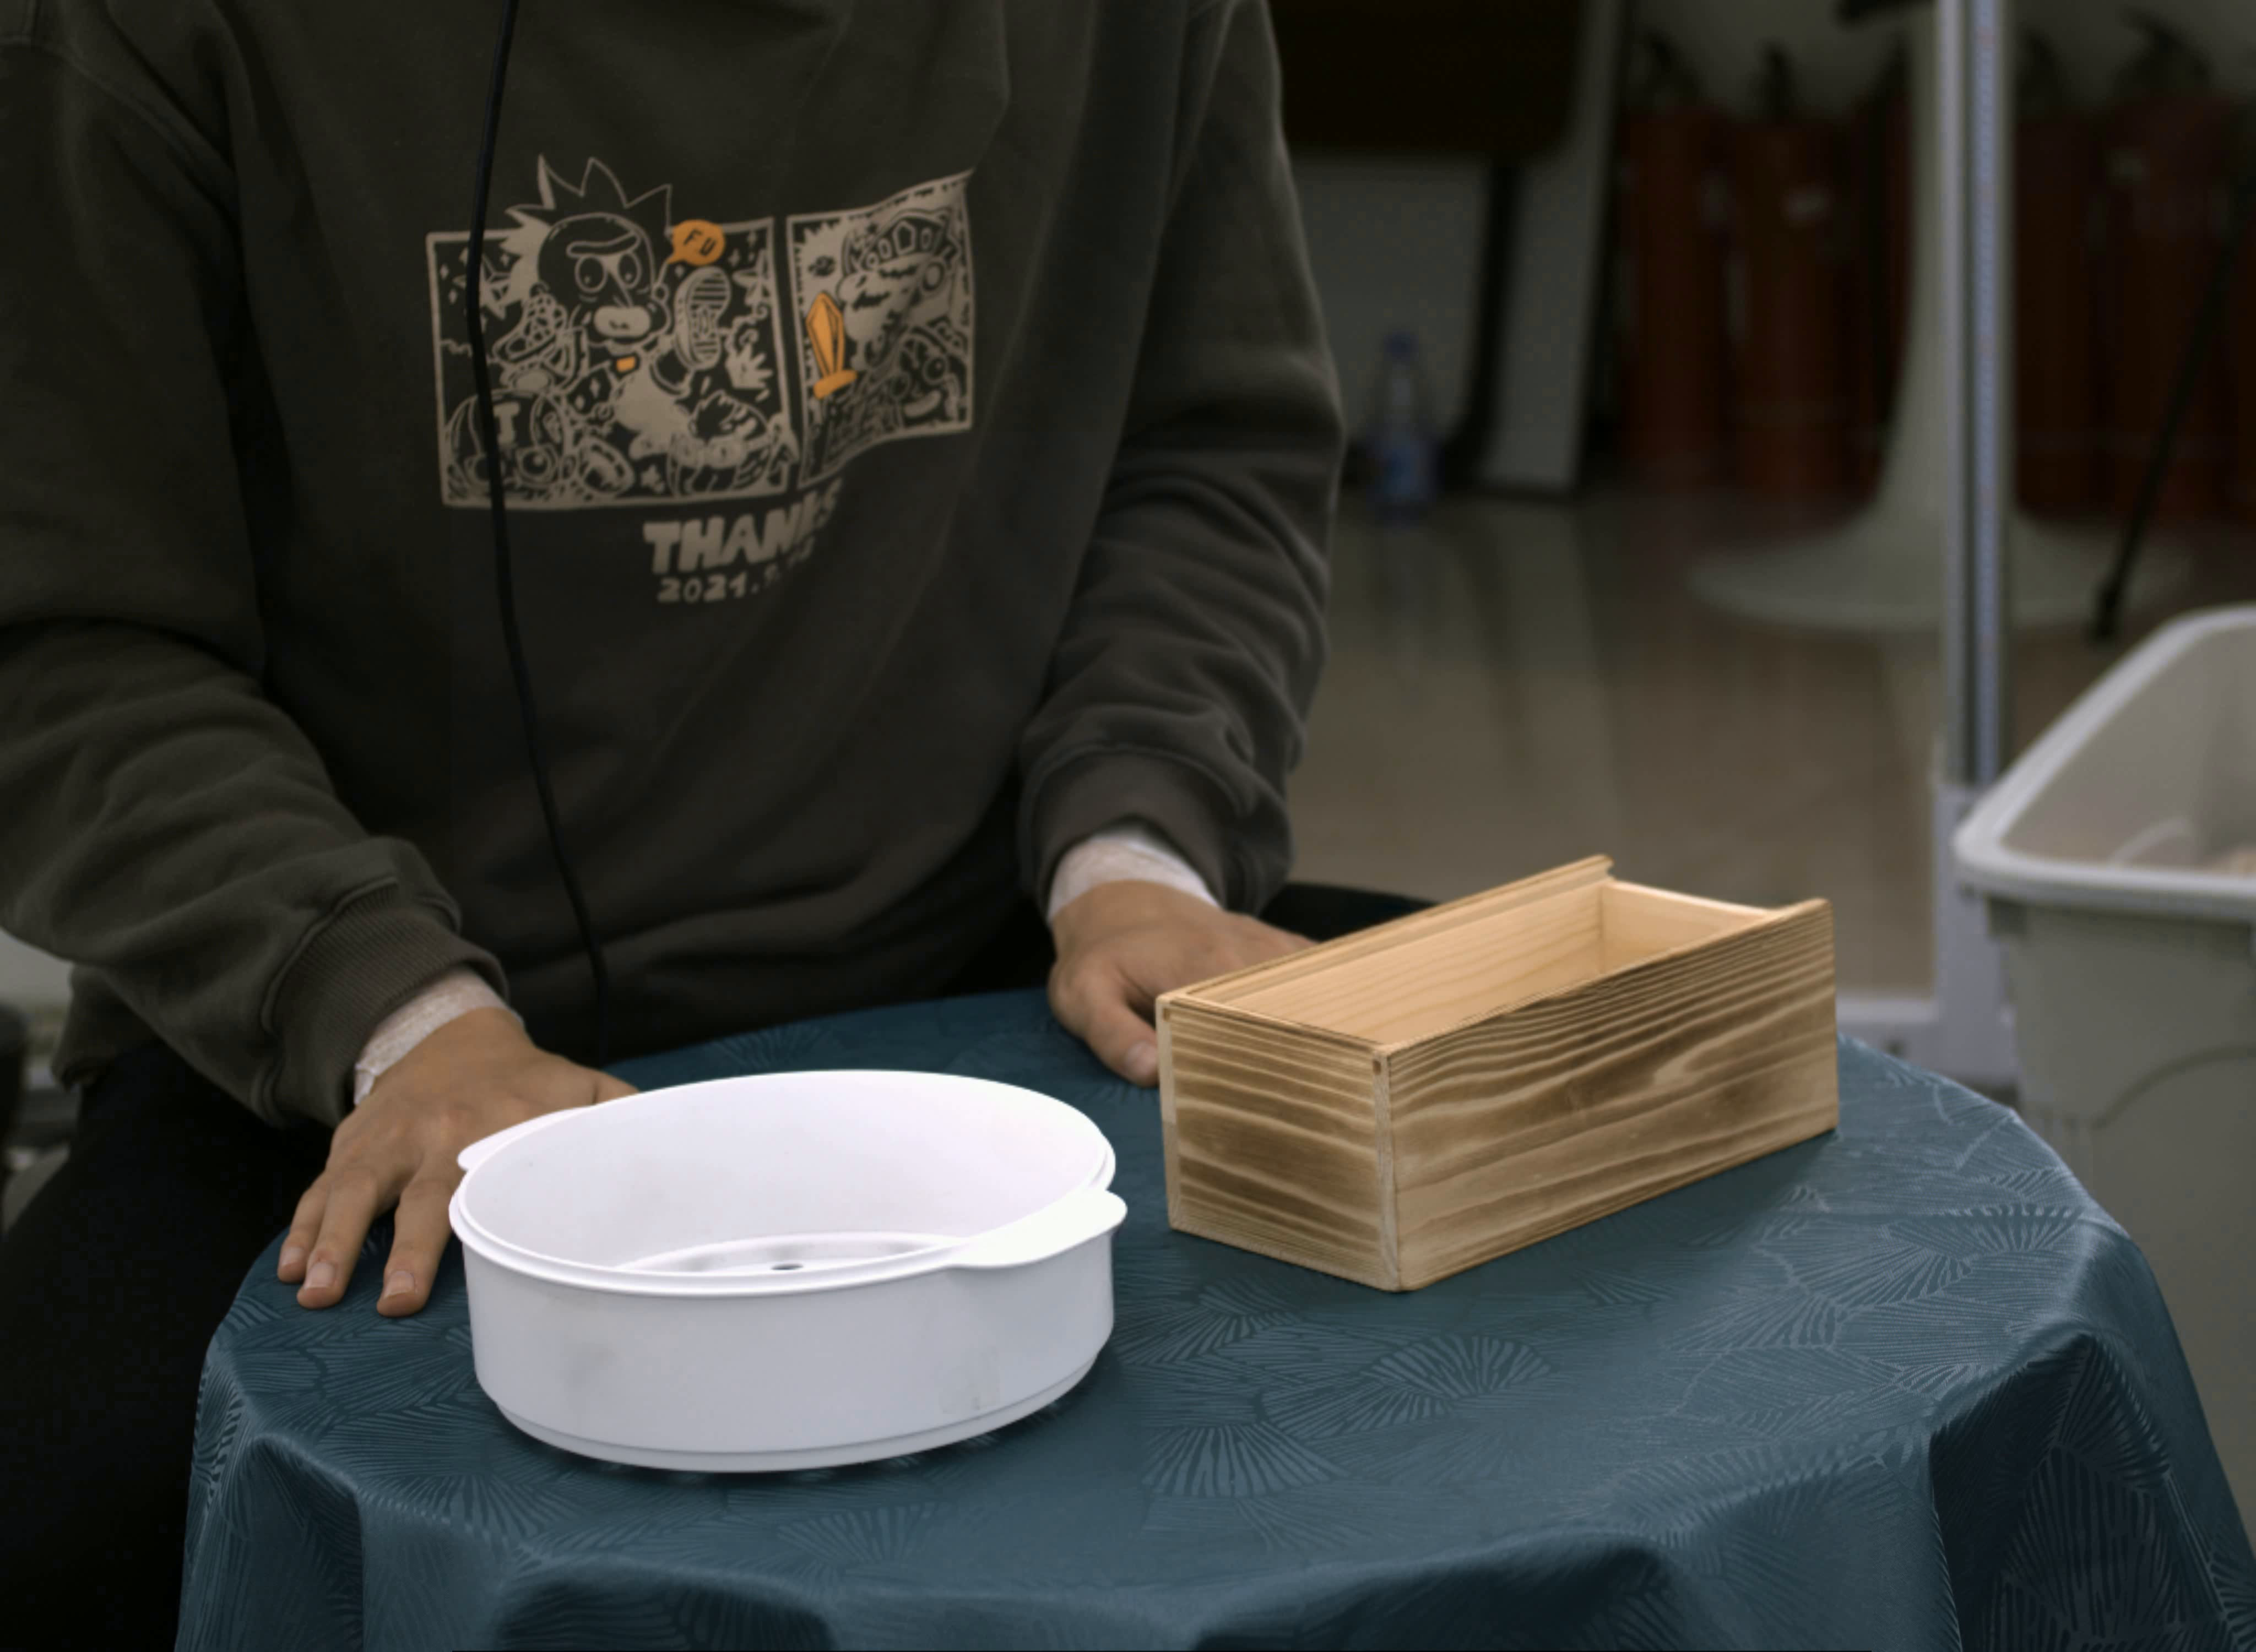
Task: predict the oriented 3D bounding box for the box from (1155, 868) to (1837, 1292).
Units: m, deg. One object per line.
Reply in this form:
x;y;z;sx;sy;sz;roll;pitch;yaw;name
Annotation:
0.122;0.079;1.746;0.207;0.081;0.108;-15;17;-40;box

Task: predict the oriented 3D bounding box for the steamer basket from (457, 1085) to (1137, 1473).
-0.097;0.134;1.608;0.232;0.070;0.198;5;15;38;steamer basket
